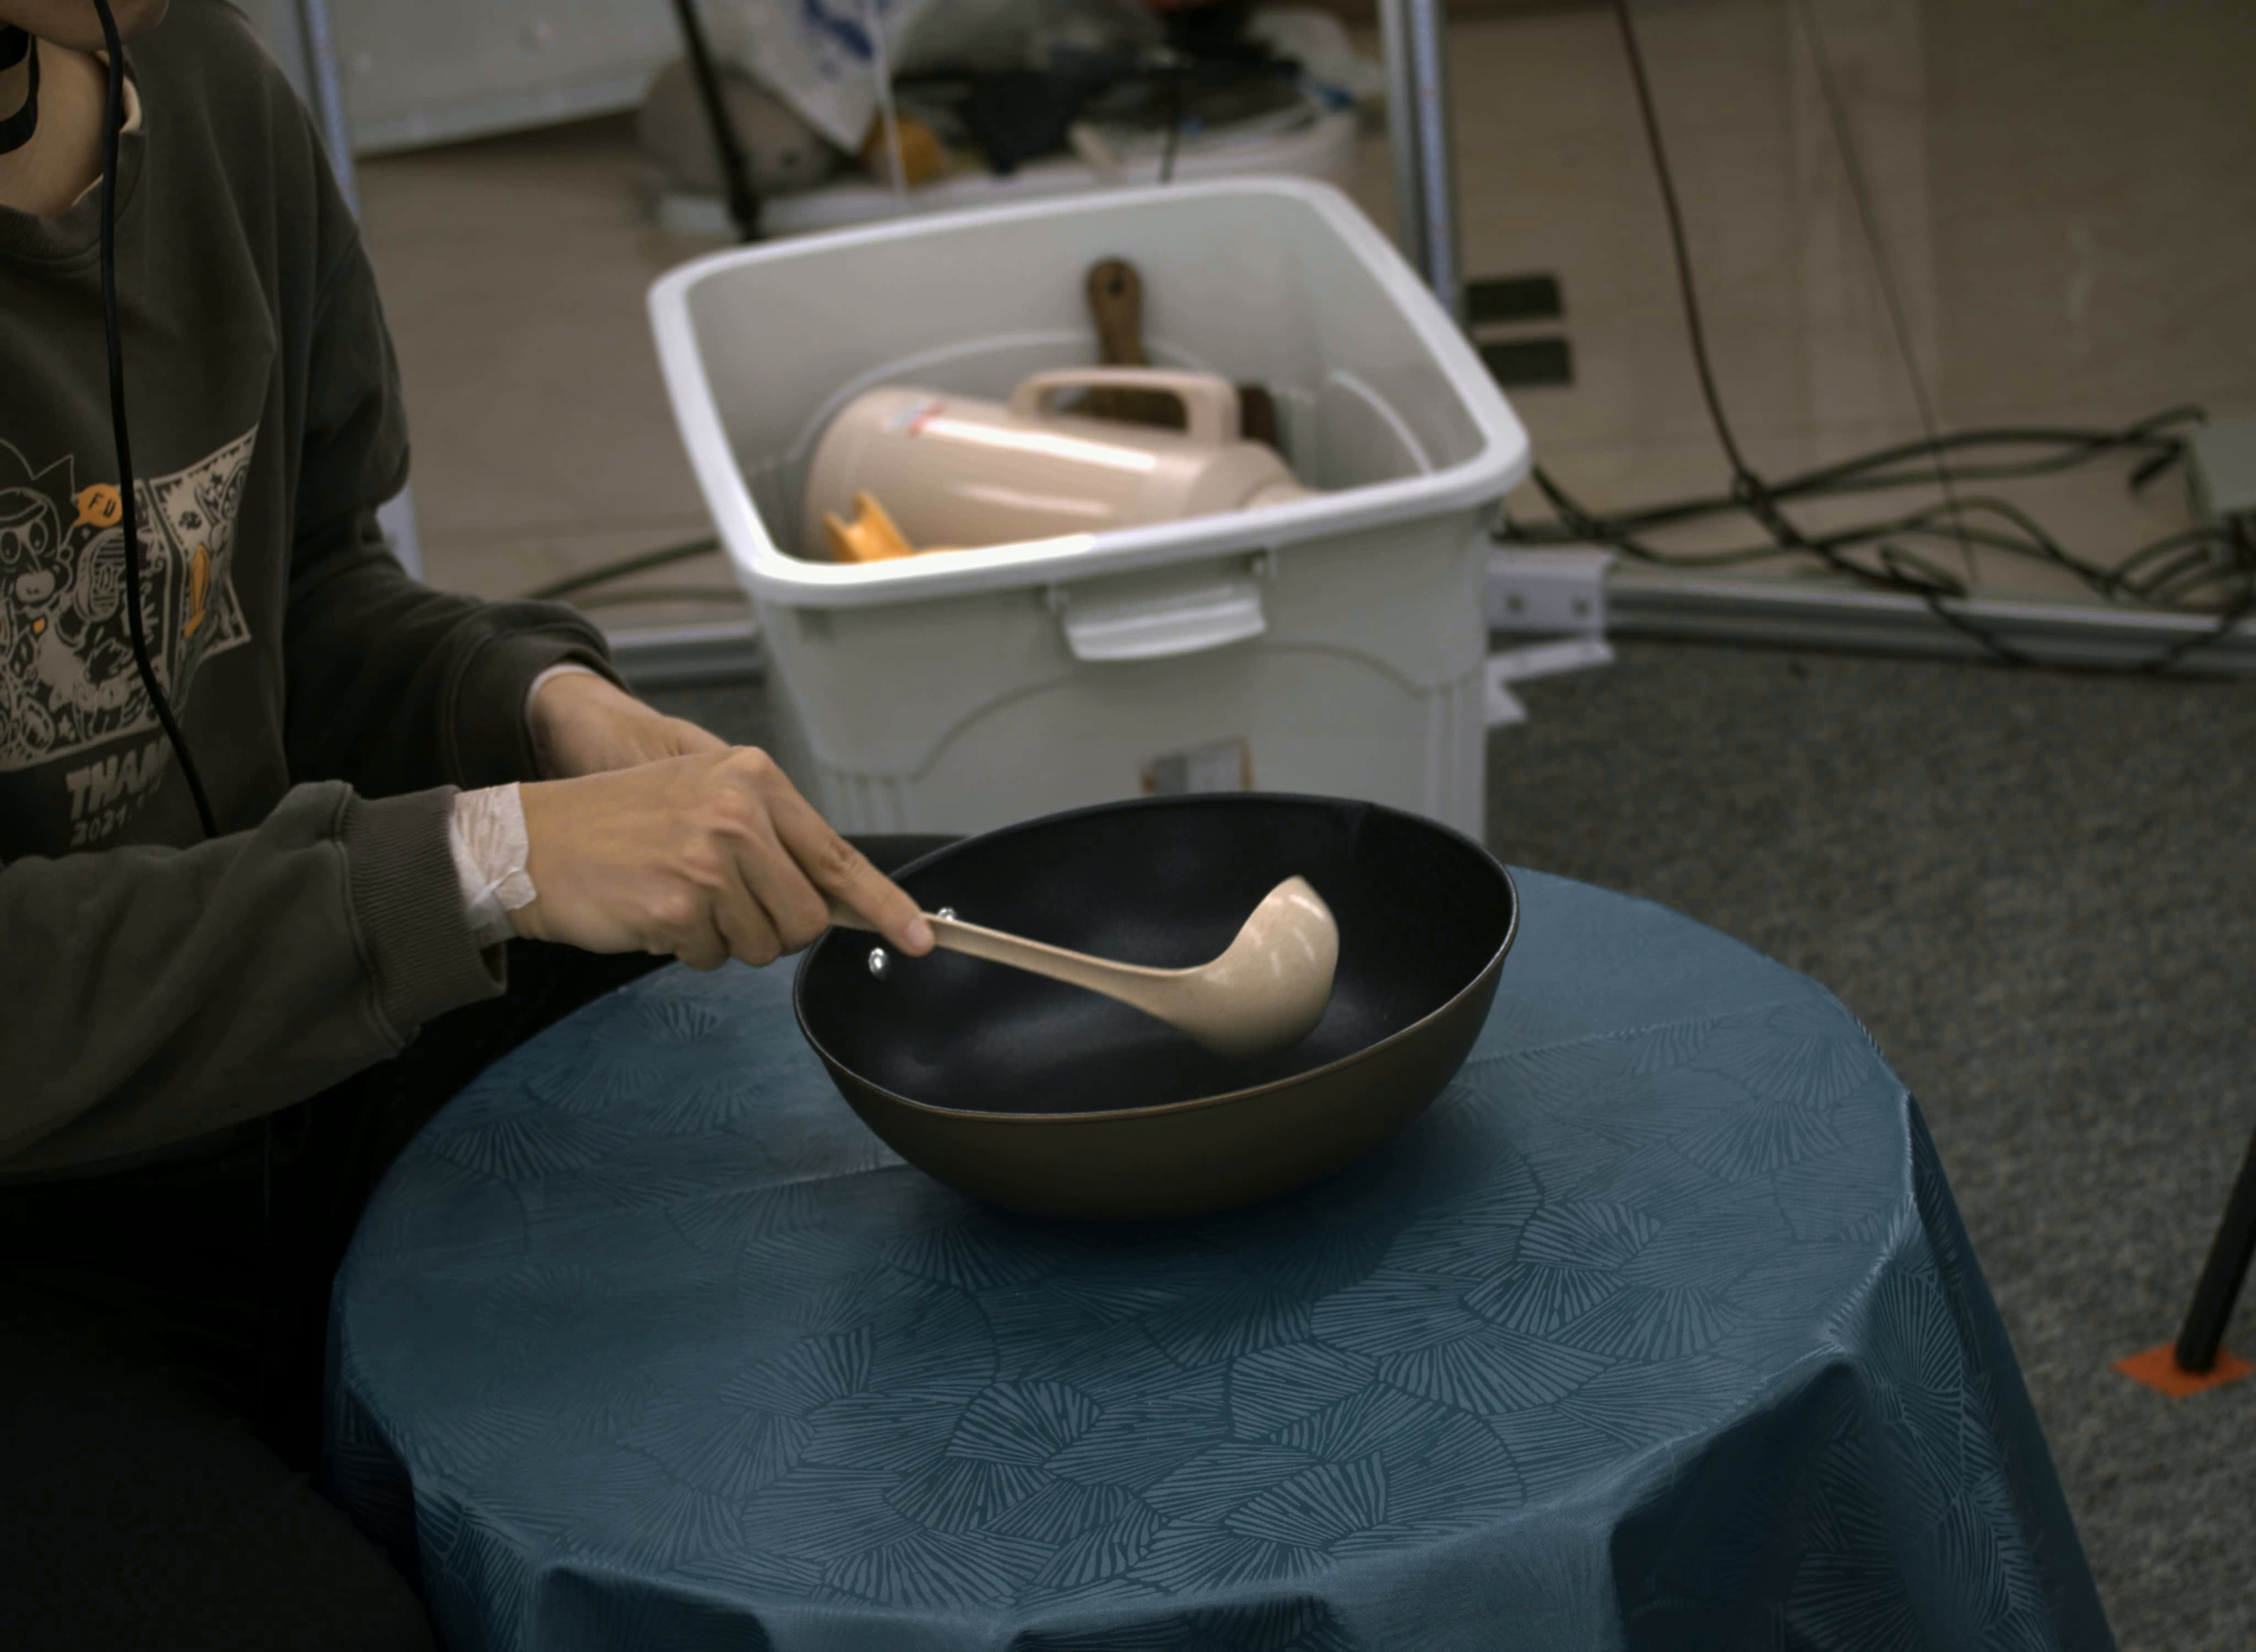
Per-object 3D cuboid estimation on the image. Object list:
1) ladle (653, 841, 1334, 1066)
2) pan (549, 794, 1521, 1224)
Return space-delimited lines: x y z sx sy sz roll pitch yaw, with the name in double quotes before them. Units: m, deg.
"ladle" -0.048 0.026 2.109 0.254 0.073 0.071 18 42 -6
"pan" -0.056 0.065 2.221 0.461 0.088 0.285 11 30 38
